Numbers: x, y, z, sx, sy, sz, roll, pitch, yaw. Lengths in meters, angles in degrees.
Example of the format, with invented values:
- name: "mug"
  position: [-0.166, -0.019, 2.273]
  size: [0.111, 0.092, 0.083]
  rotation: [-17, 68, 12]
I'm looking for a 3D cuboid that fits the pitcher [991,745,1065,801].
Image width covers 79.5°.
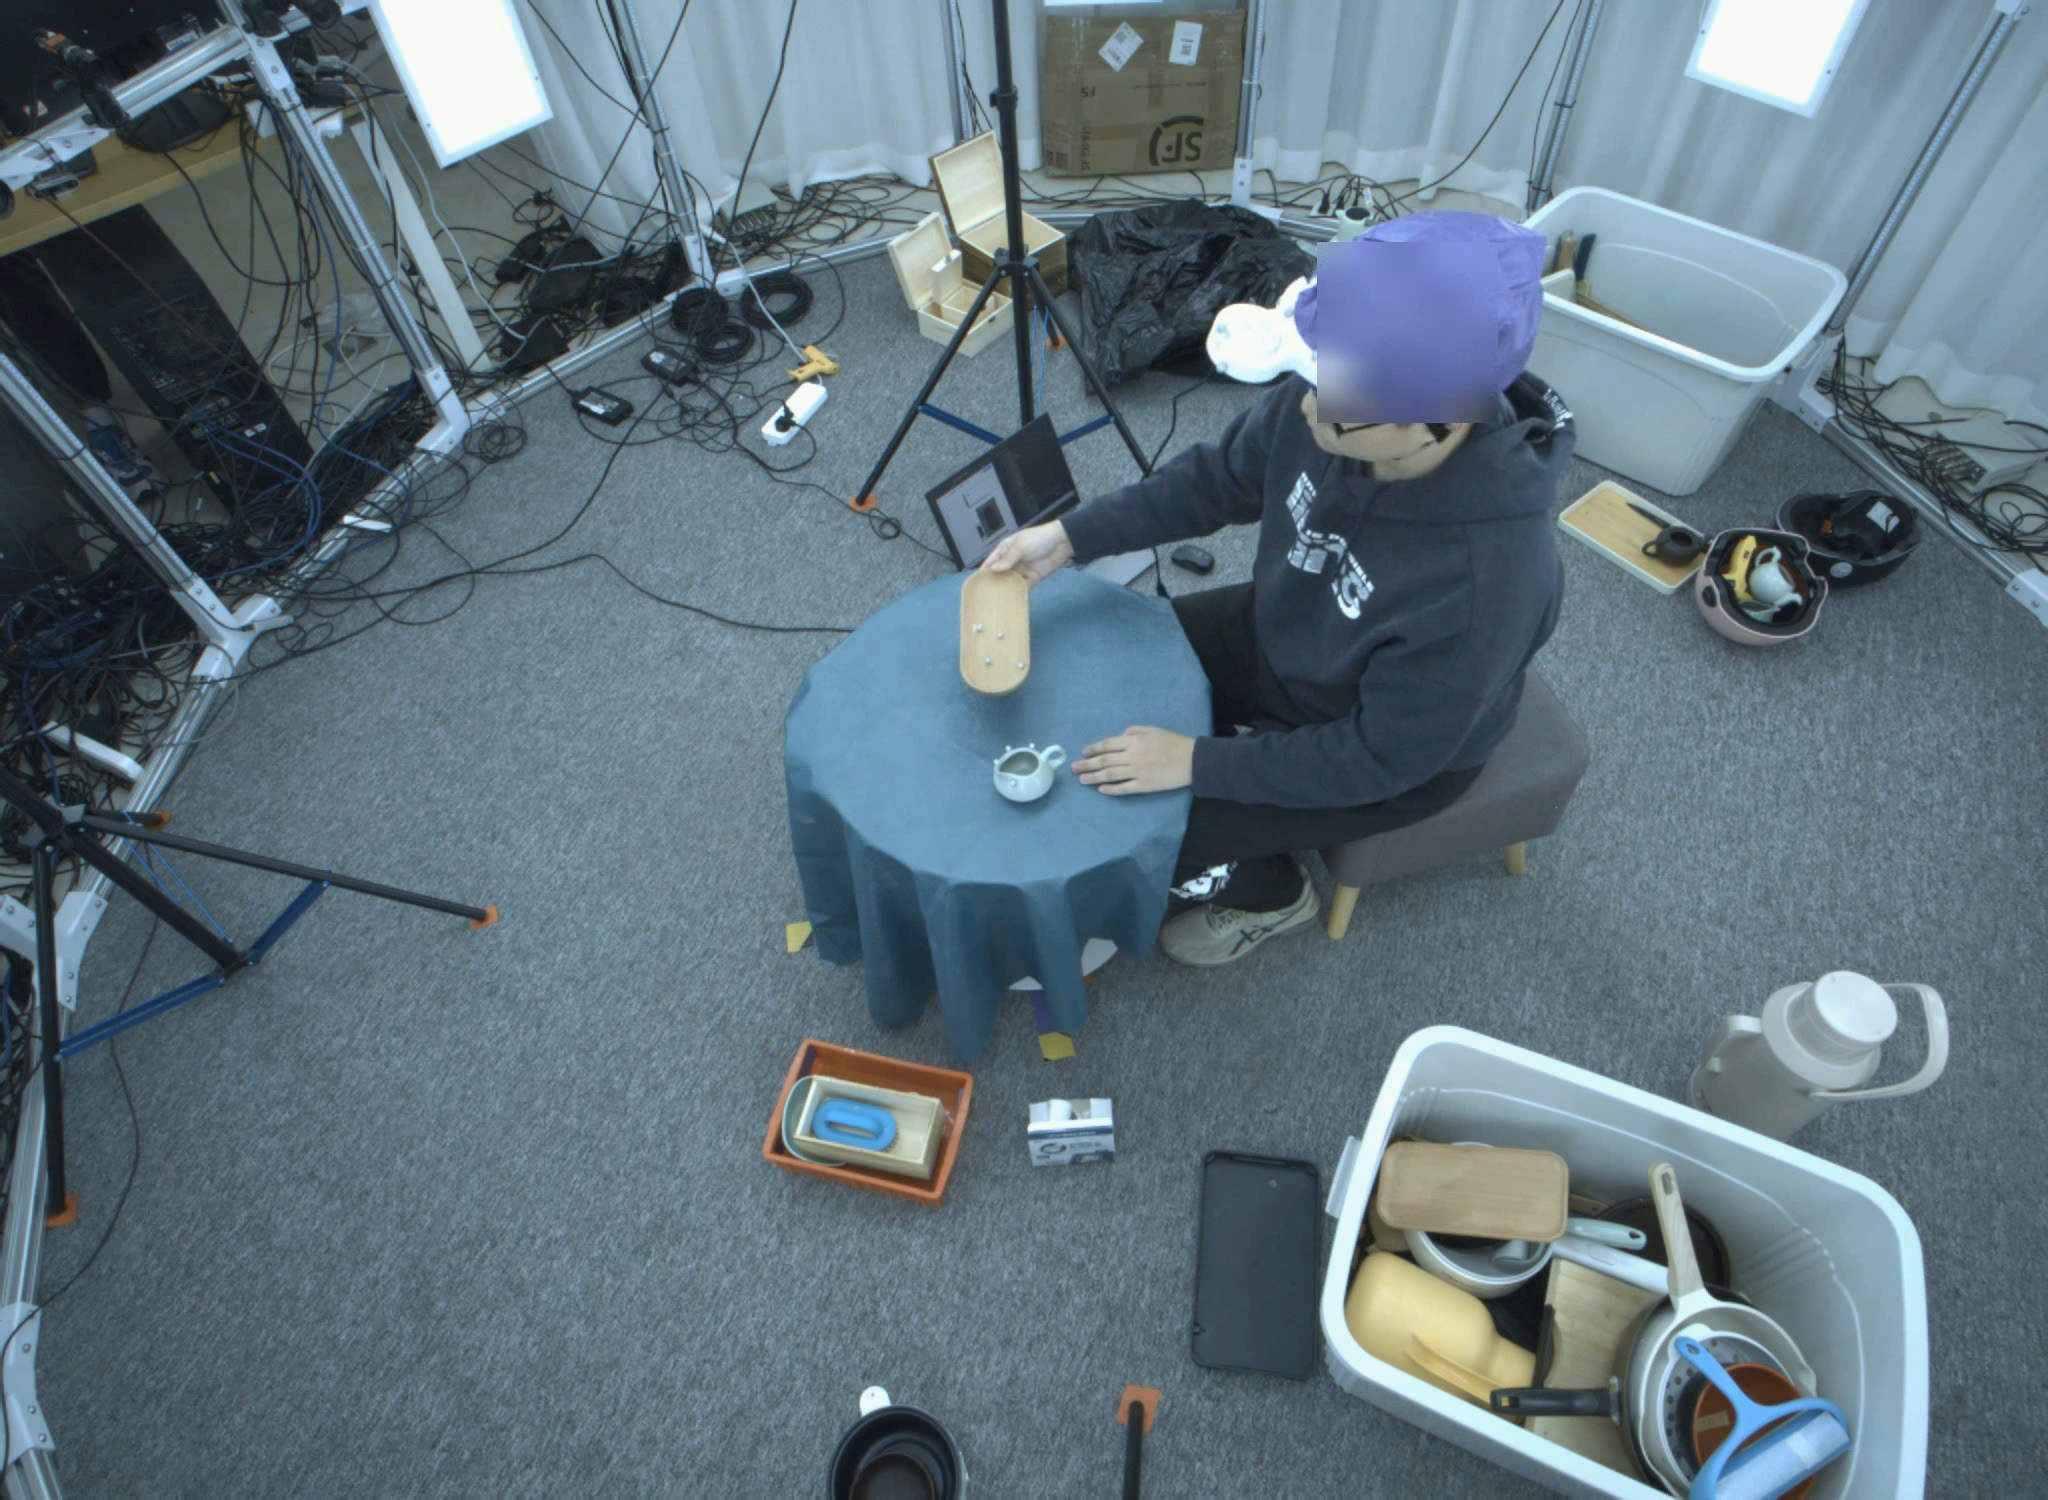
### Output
- name: "pitcher"
  position: [0.007, 0.027, 1.735]
  size: [0.109, 0.061, 0.084]
  rotation: [-20, 58, -14]

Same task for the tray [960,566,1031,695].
- name: "tray"
  position: [-0.043, -0.177, 1.795]
  size: [0.102, 0.020, 0.228]
  rotation: [-2, 57, 0]
